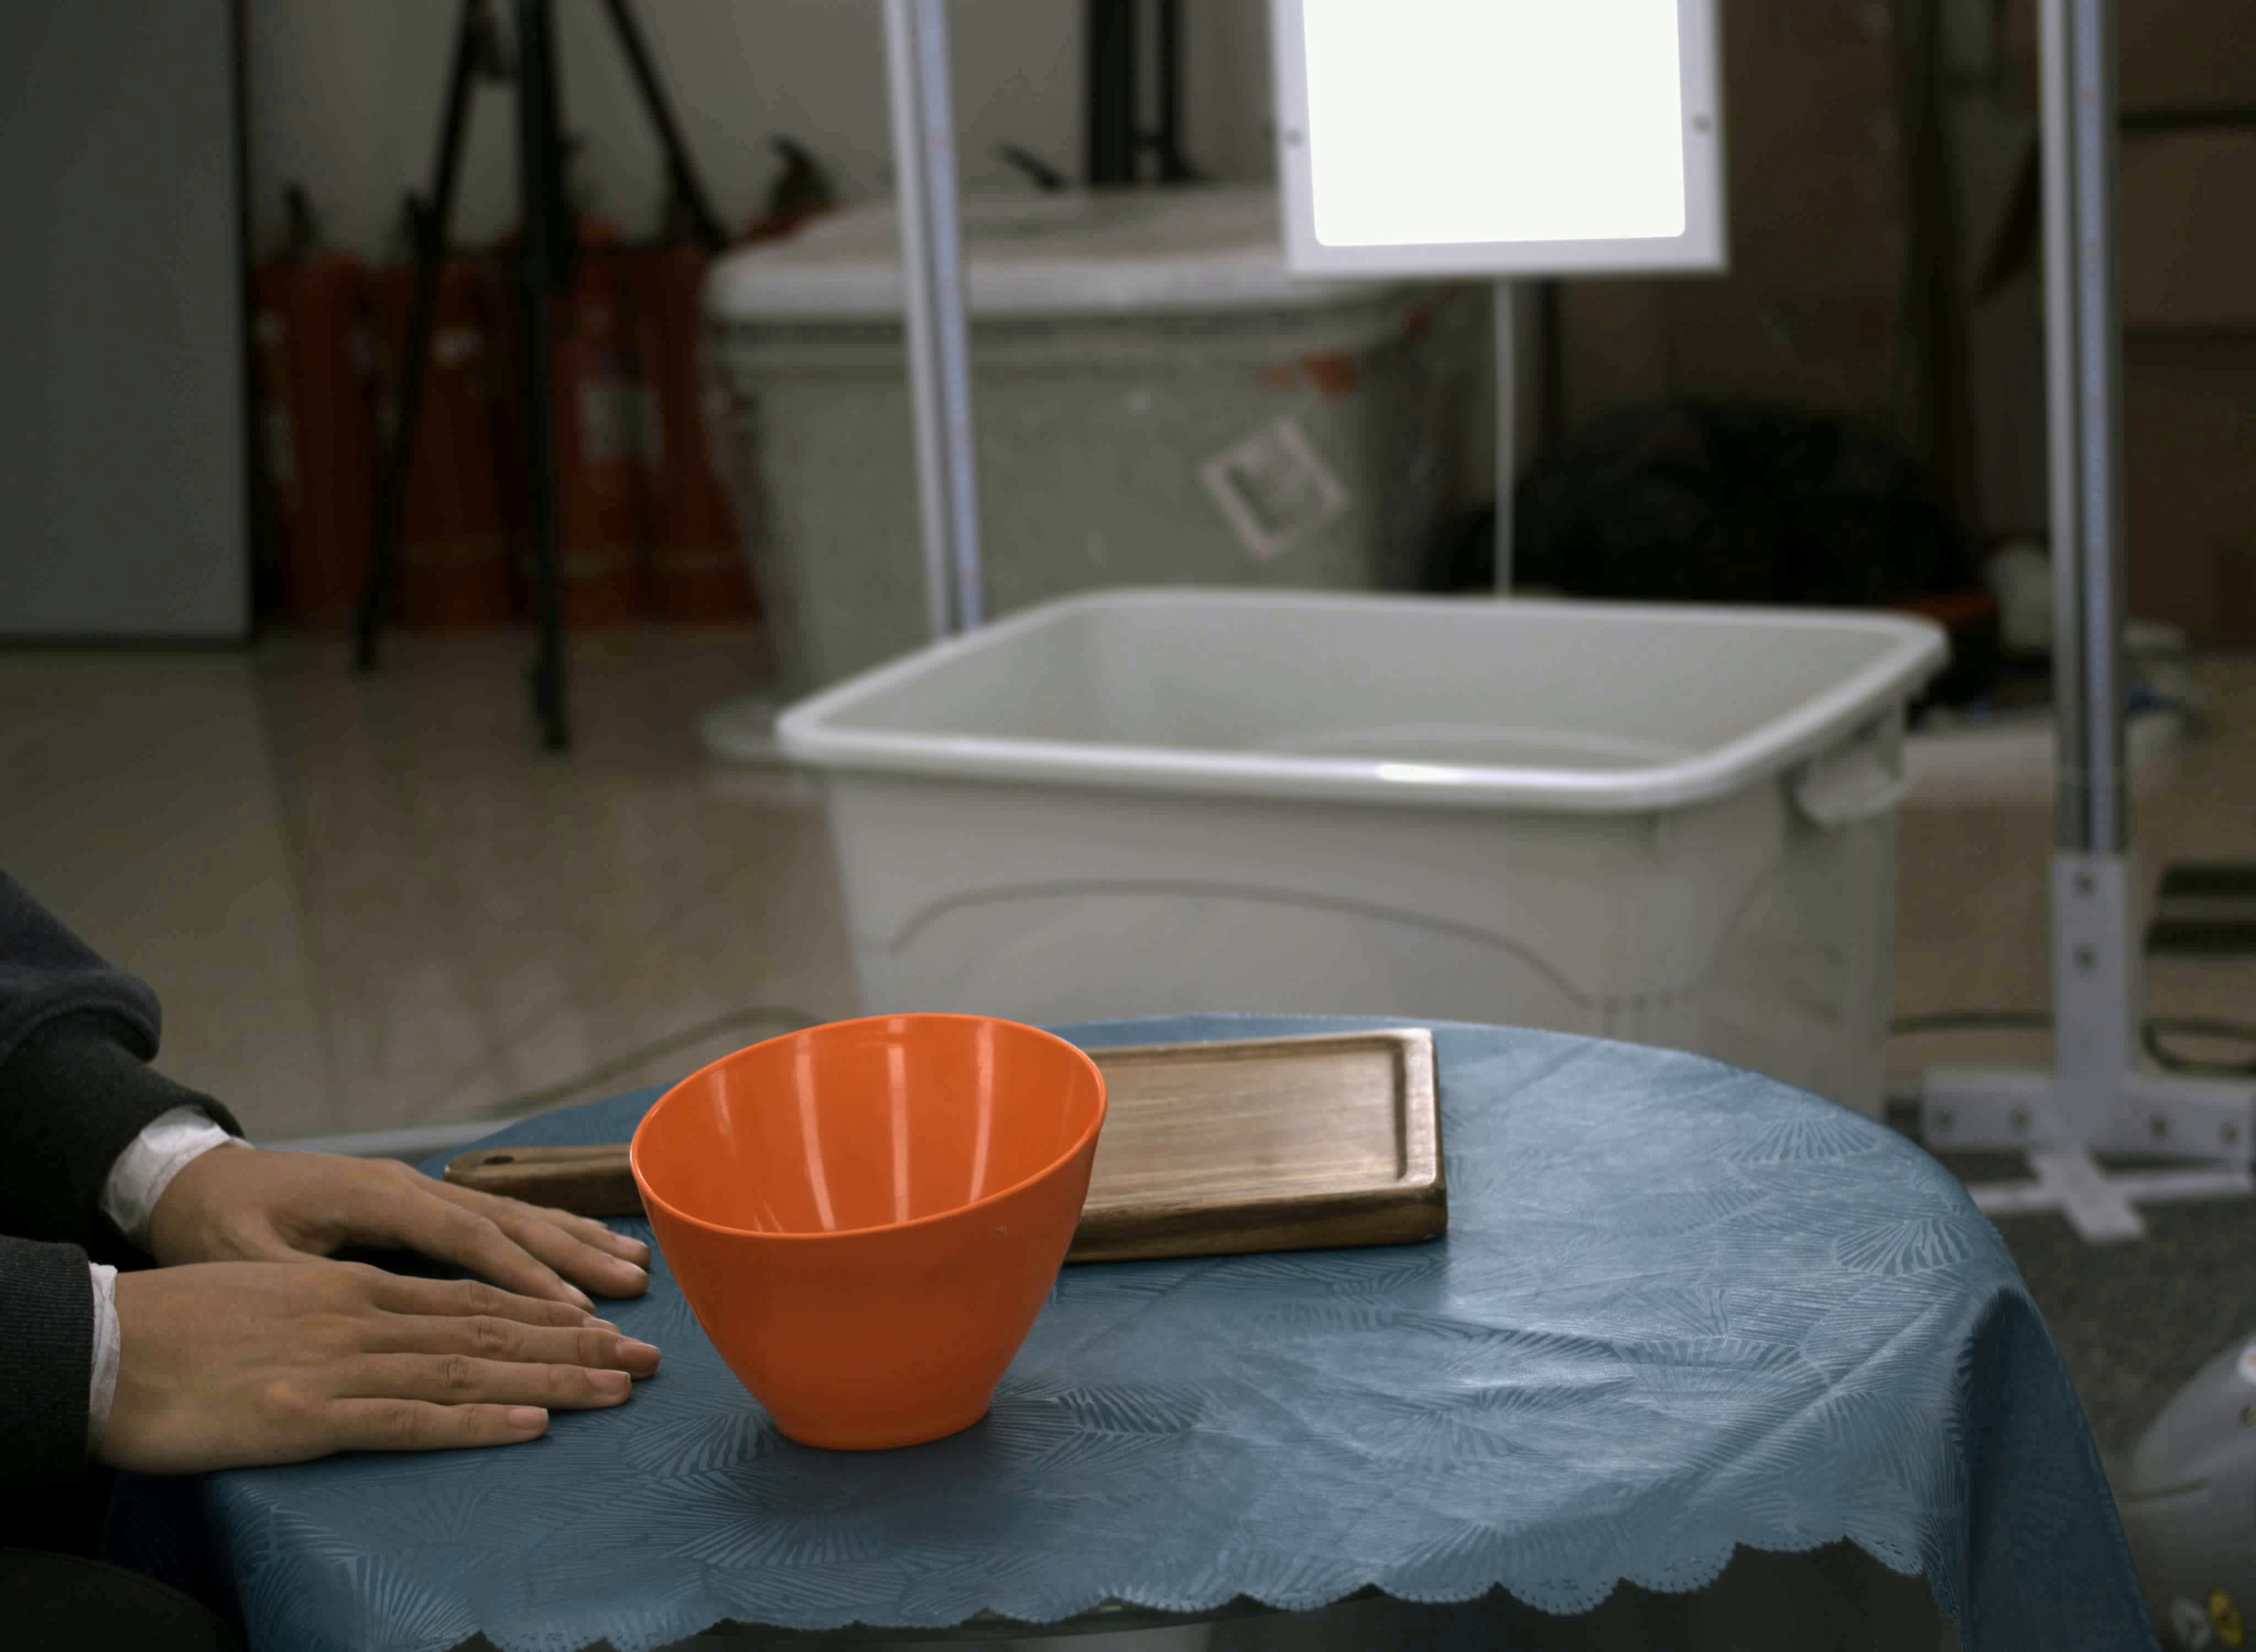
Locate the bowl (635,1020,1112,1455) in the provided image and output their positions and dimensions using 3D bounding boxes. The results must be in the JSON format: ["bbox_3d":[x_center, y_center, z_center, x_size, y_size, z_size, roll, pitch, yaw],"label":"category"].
[{"bbox_3d":[-0.075,0.130,1.698,0.147,0.105,0.148,-5,14,0],"label":"bowl"}]

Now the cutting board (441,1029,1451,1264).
[{"bbox_3d":[-0.065,0.116,1.921,0.353,0.023,0.200,-4,14,5],"label":"cutting board"}]
